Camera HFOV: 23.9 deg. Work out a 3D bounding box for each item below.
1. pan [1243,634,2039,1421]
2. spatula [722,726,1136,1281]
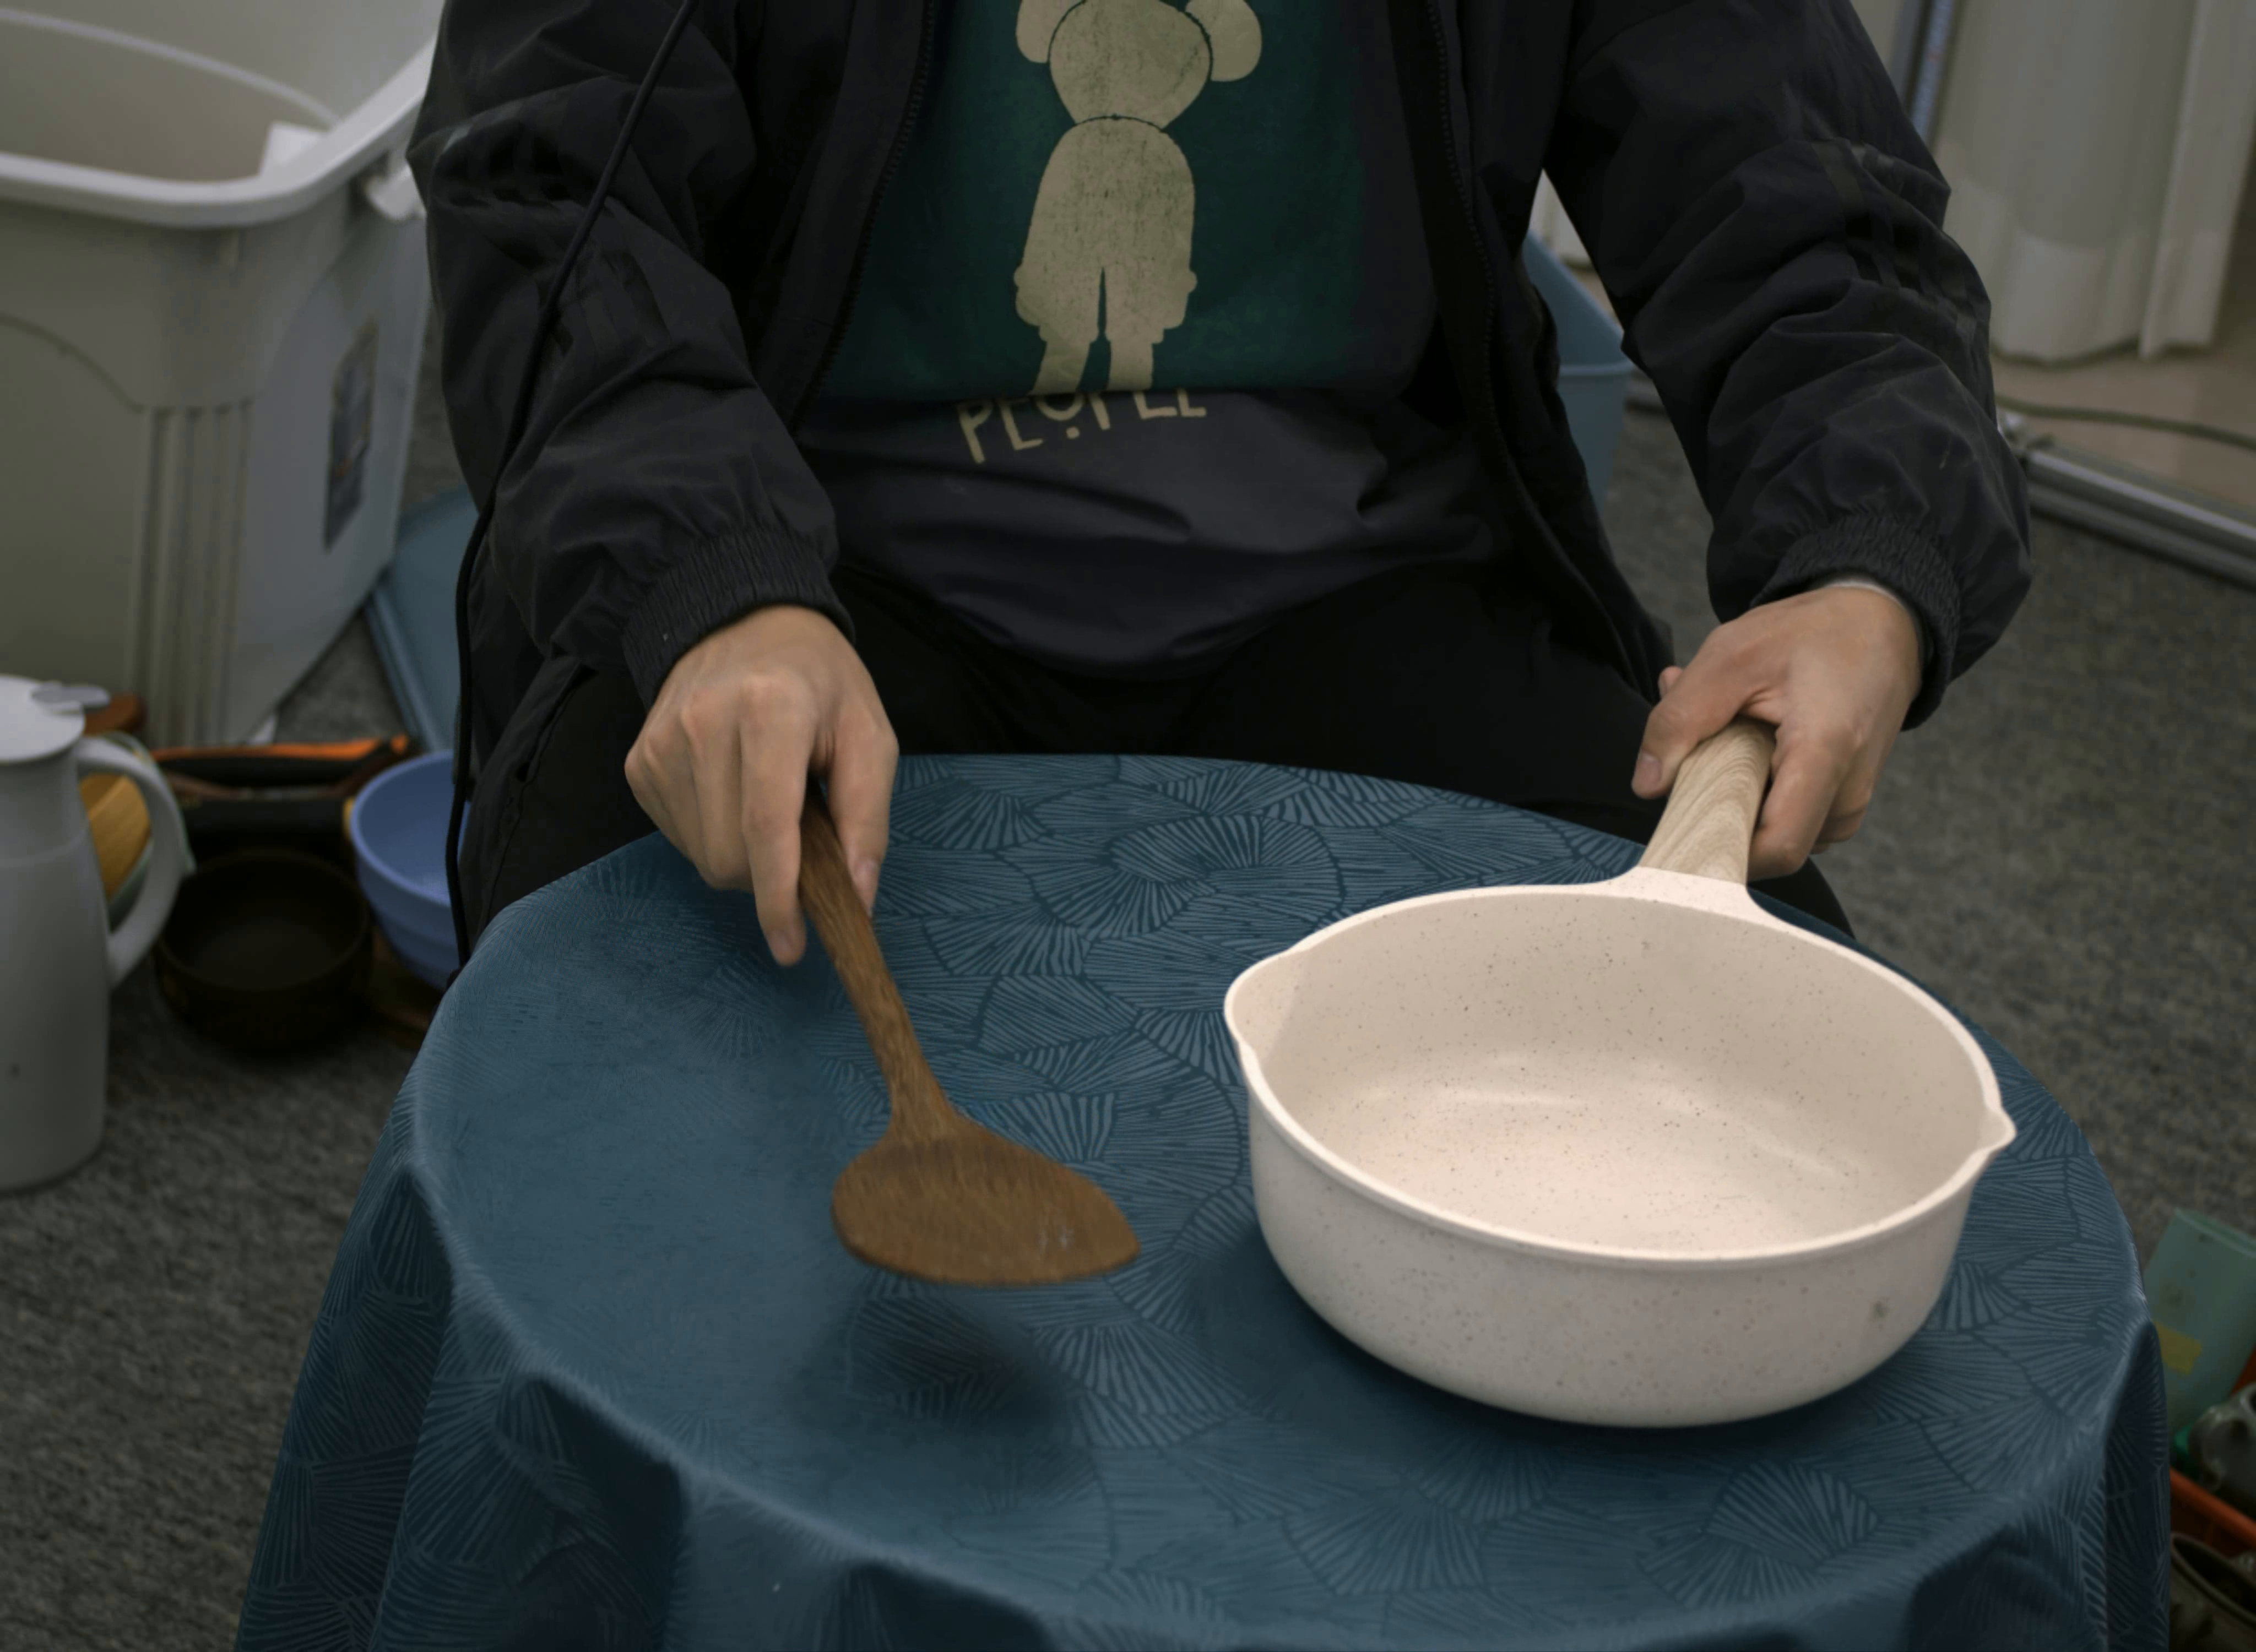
[{"bbox_3d":[0.188,0.065,1.836,0.263,0.101,0.436,8,27,12],"label":"pan"},{"bbox_3d":[-0.088,0.051,1.803,0.095,0.016,0.389,-1,28,-16],"label":"spatula"}]
